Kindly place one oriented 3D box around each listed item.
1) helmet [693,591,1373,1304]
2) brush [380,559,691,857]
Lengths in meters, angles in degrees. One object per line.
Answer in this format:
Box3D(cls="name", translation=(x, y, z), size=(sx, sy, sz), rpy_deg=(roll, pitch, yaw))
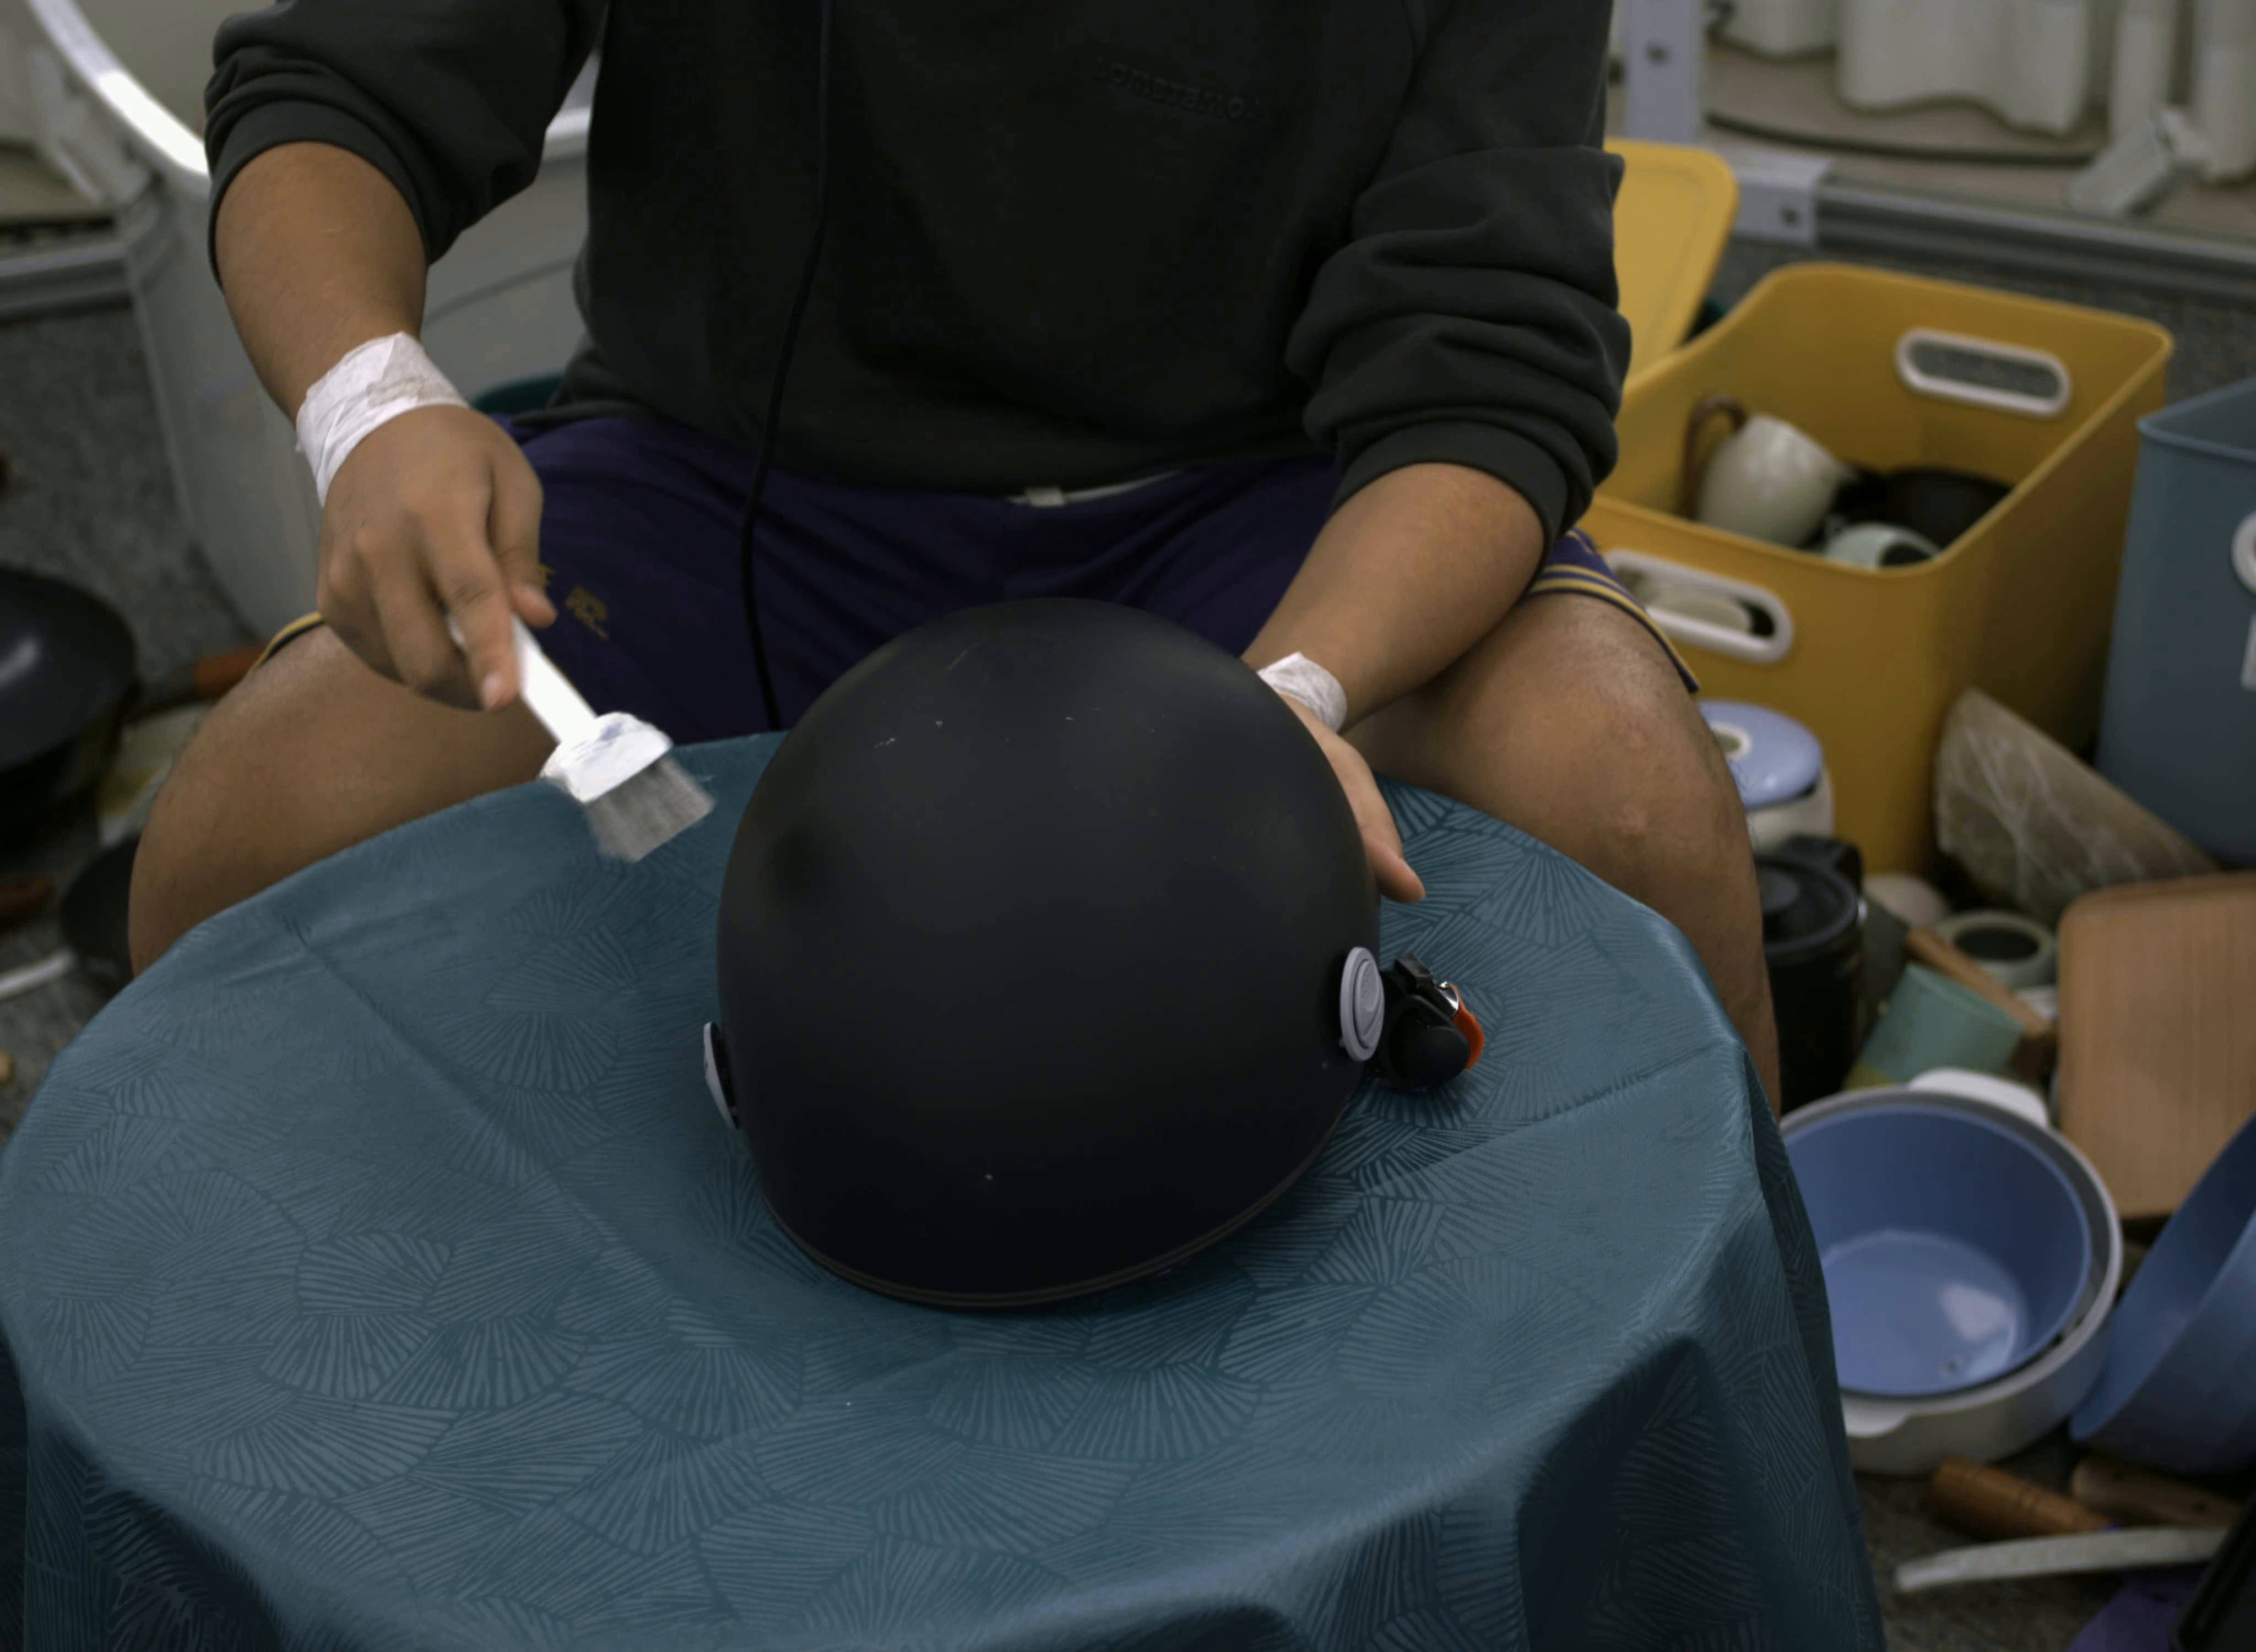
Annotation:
Box3D(cls="helmet", translation=(-0.036, 0.020, 1.872), size=(0.228, 0.165, 0.278), rpy_deg=(-7, 30, 13))
Box3D(cls="brush", translation=(-0.200, -0.039, 1.891), size=(0.034, 0.050, 0.244), rpy_deg=(-37, 27, -9))
